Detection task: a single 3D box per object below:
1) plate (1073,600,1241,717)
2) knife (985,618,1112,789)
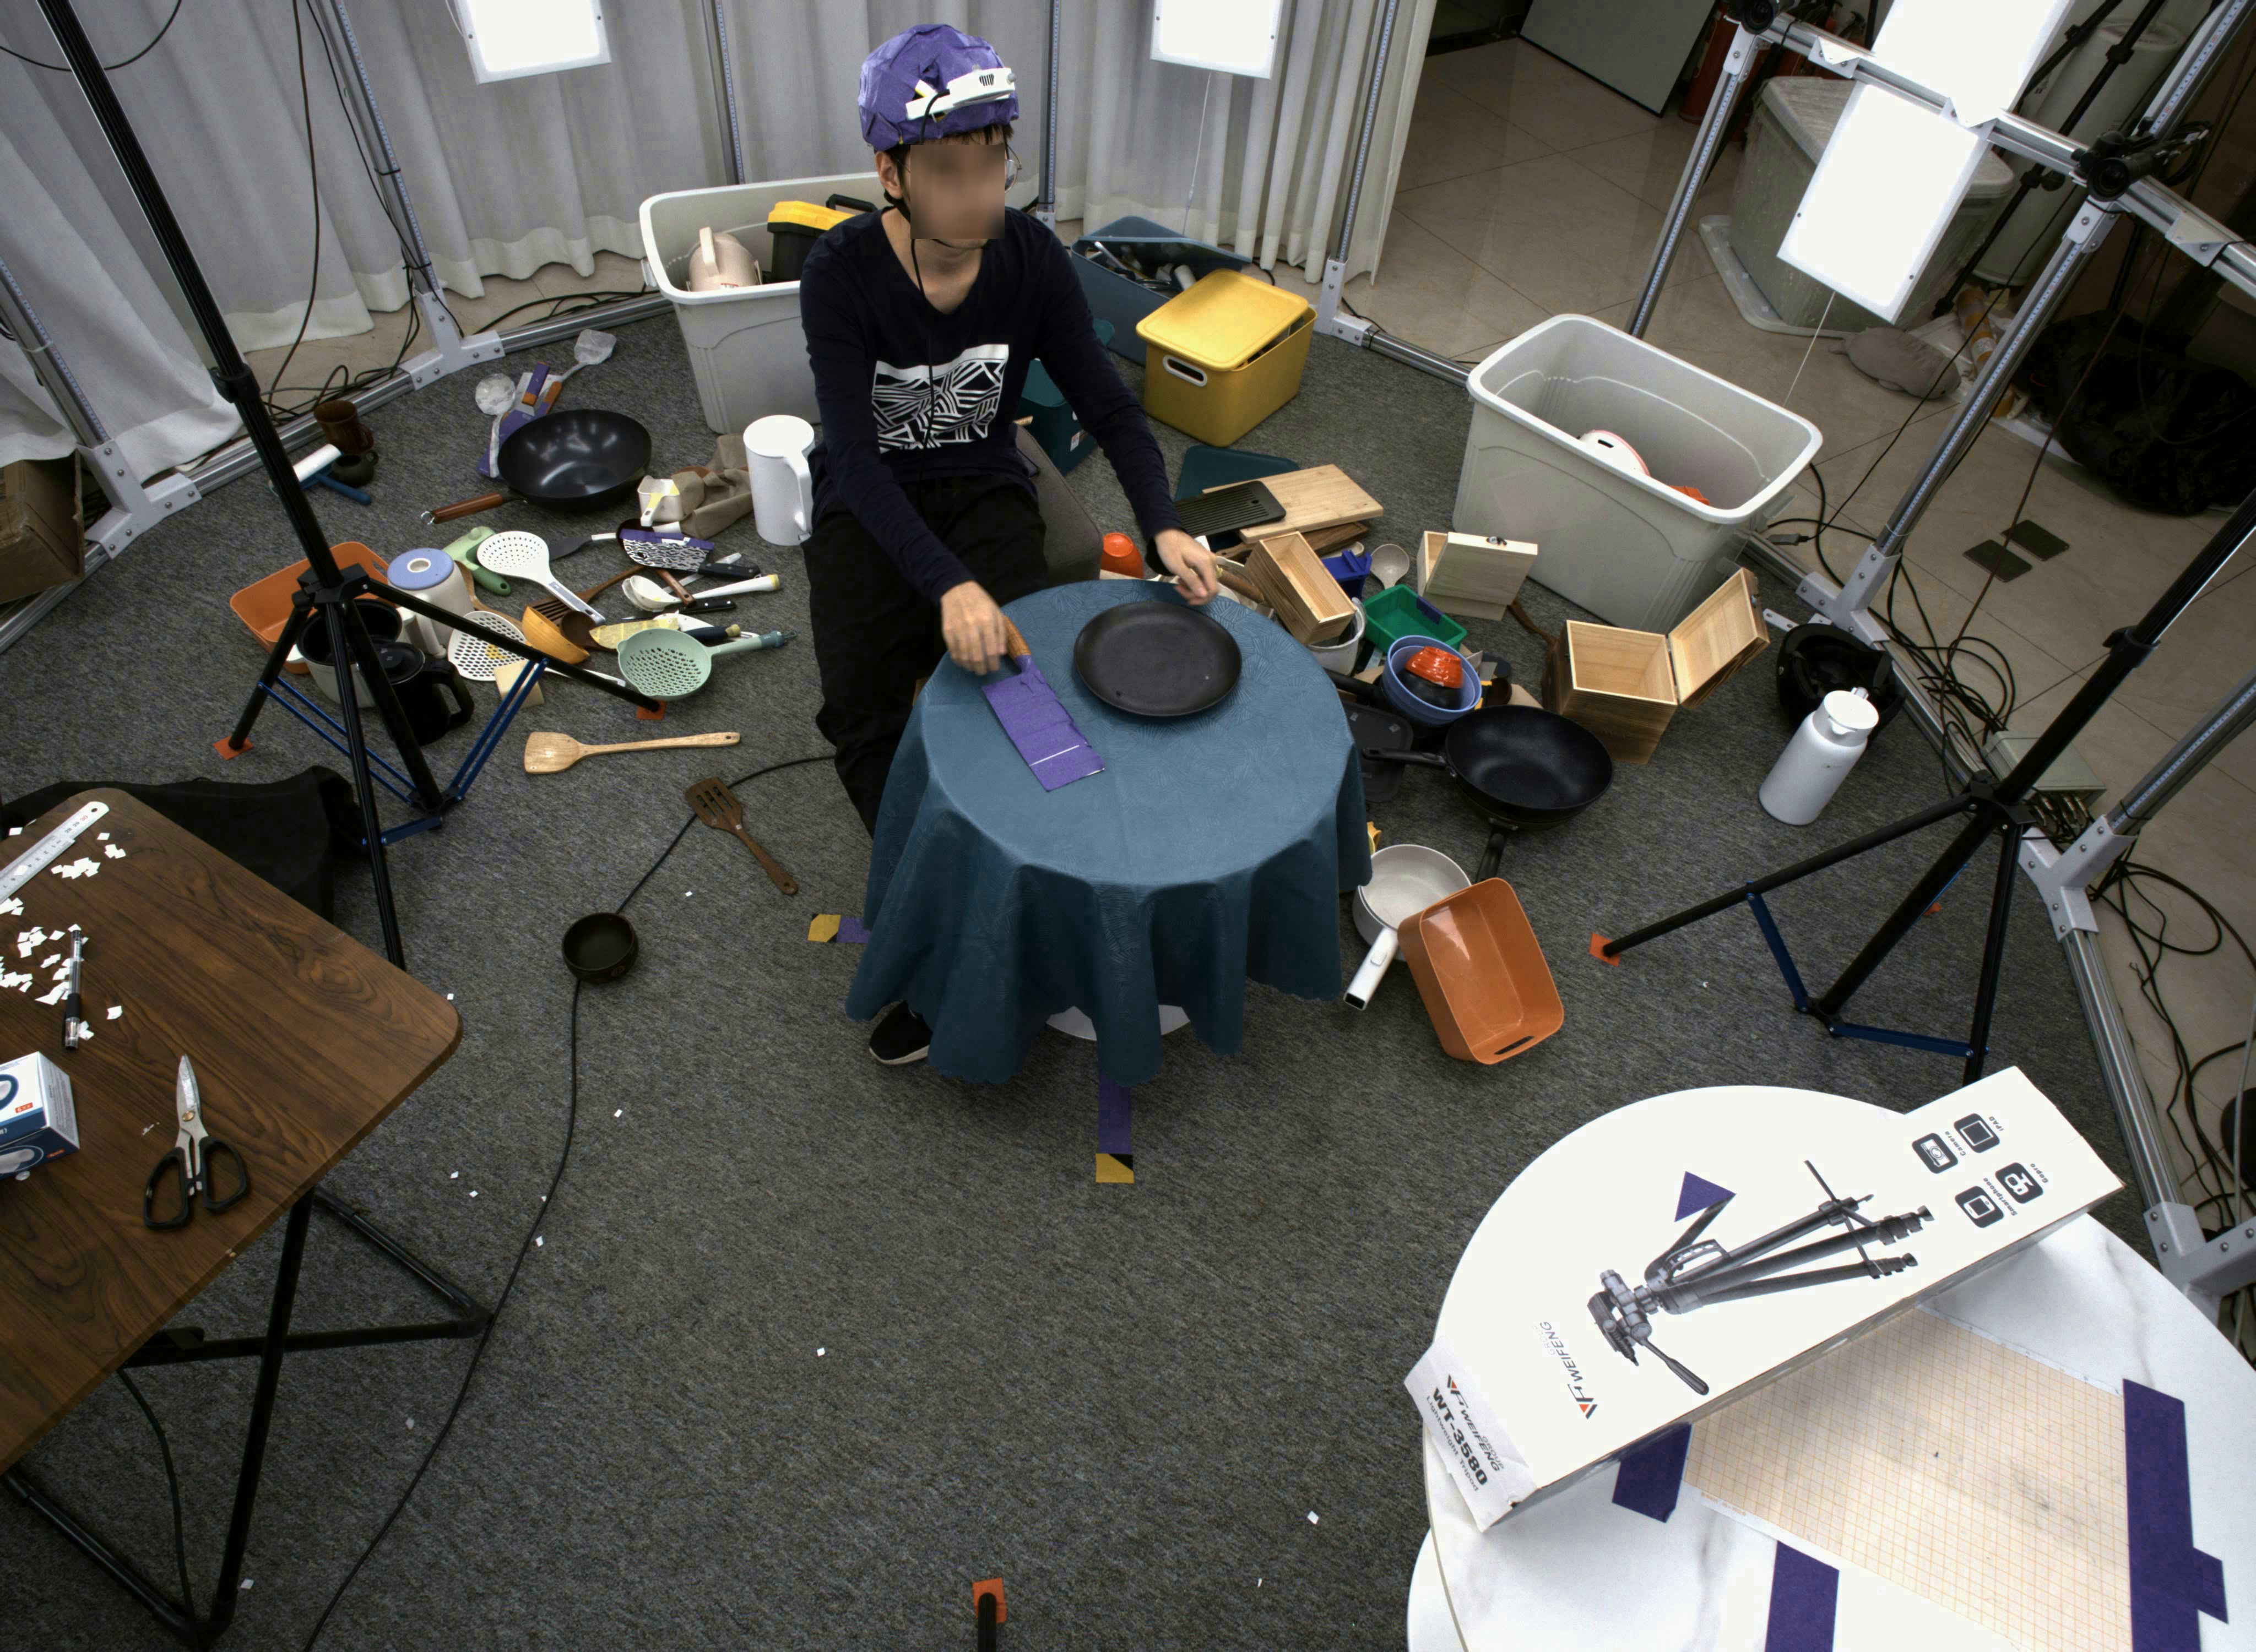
[{"bbox_3d":[0.042,-0.240,1.864,0.244,0.023,0.250,2,49,-3],"label":"plate"},{"bbox_3d":[-0.140,-0.176,1.793,0.104,0.031,0.322,-21,54,-20],"label":"knife"}]
